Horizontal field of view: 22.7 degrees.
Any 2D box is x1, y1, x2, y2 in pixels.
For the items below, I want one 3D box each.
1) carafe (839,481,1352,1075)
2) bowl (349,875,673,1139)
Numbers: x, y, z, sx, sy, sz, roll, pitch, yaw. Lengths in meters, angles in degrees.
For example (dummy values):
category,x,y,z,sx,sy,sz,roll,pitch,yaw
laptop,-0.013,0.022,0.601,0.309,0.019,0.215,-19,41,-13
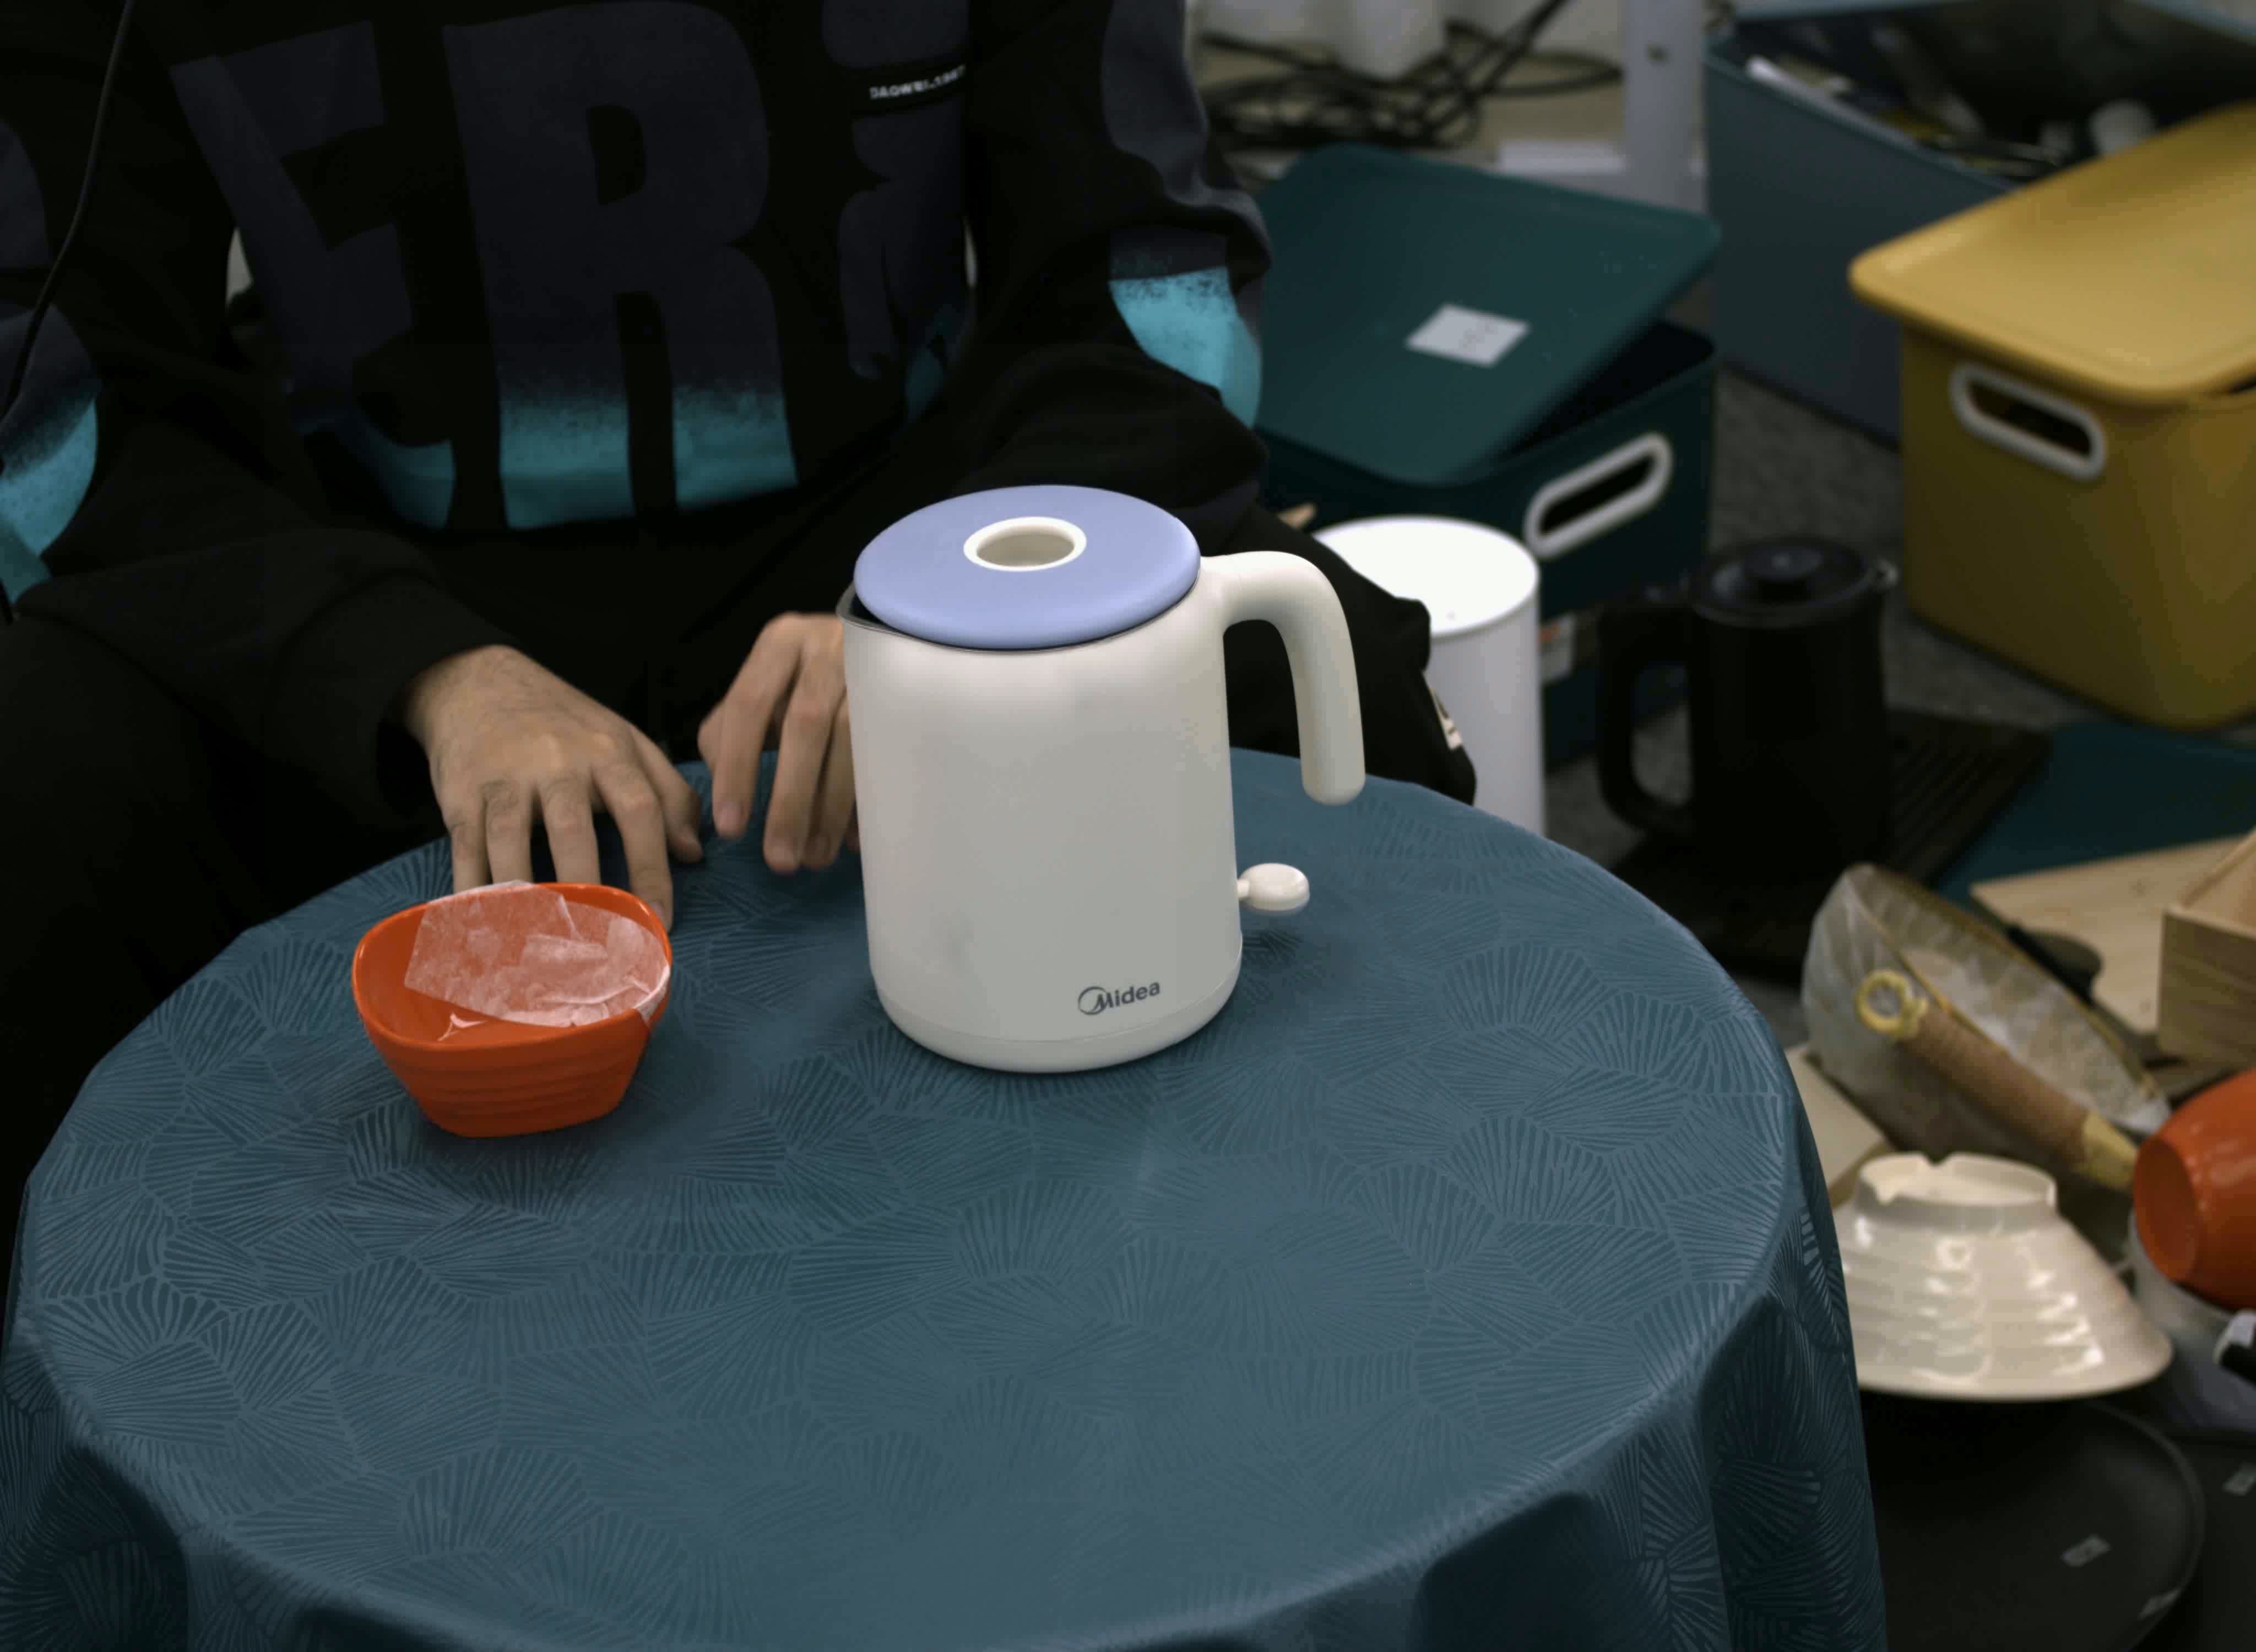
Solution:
category,x,y,z,sx,sy,sz,roll,pitch,yaw
carafe,-0.008,-0.022,1.955,0.192,0.180,0.133,-11,29,-21
bowl,-0.209,0.067,1.928,0.118,0.051,0.121,-3,30,2
